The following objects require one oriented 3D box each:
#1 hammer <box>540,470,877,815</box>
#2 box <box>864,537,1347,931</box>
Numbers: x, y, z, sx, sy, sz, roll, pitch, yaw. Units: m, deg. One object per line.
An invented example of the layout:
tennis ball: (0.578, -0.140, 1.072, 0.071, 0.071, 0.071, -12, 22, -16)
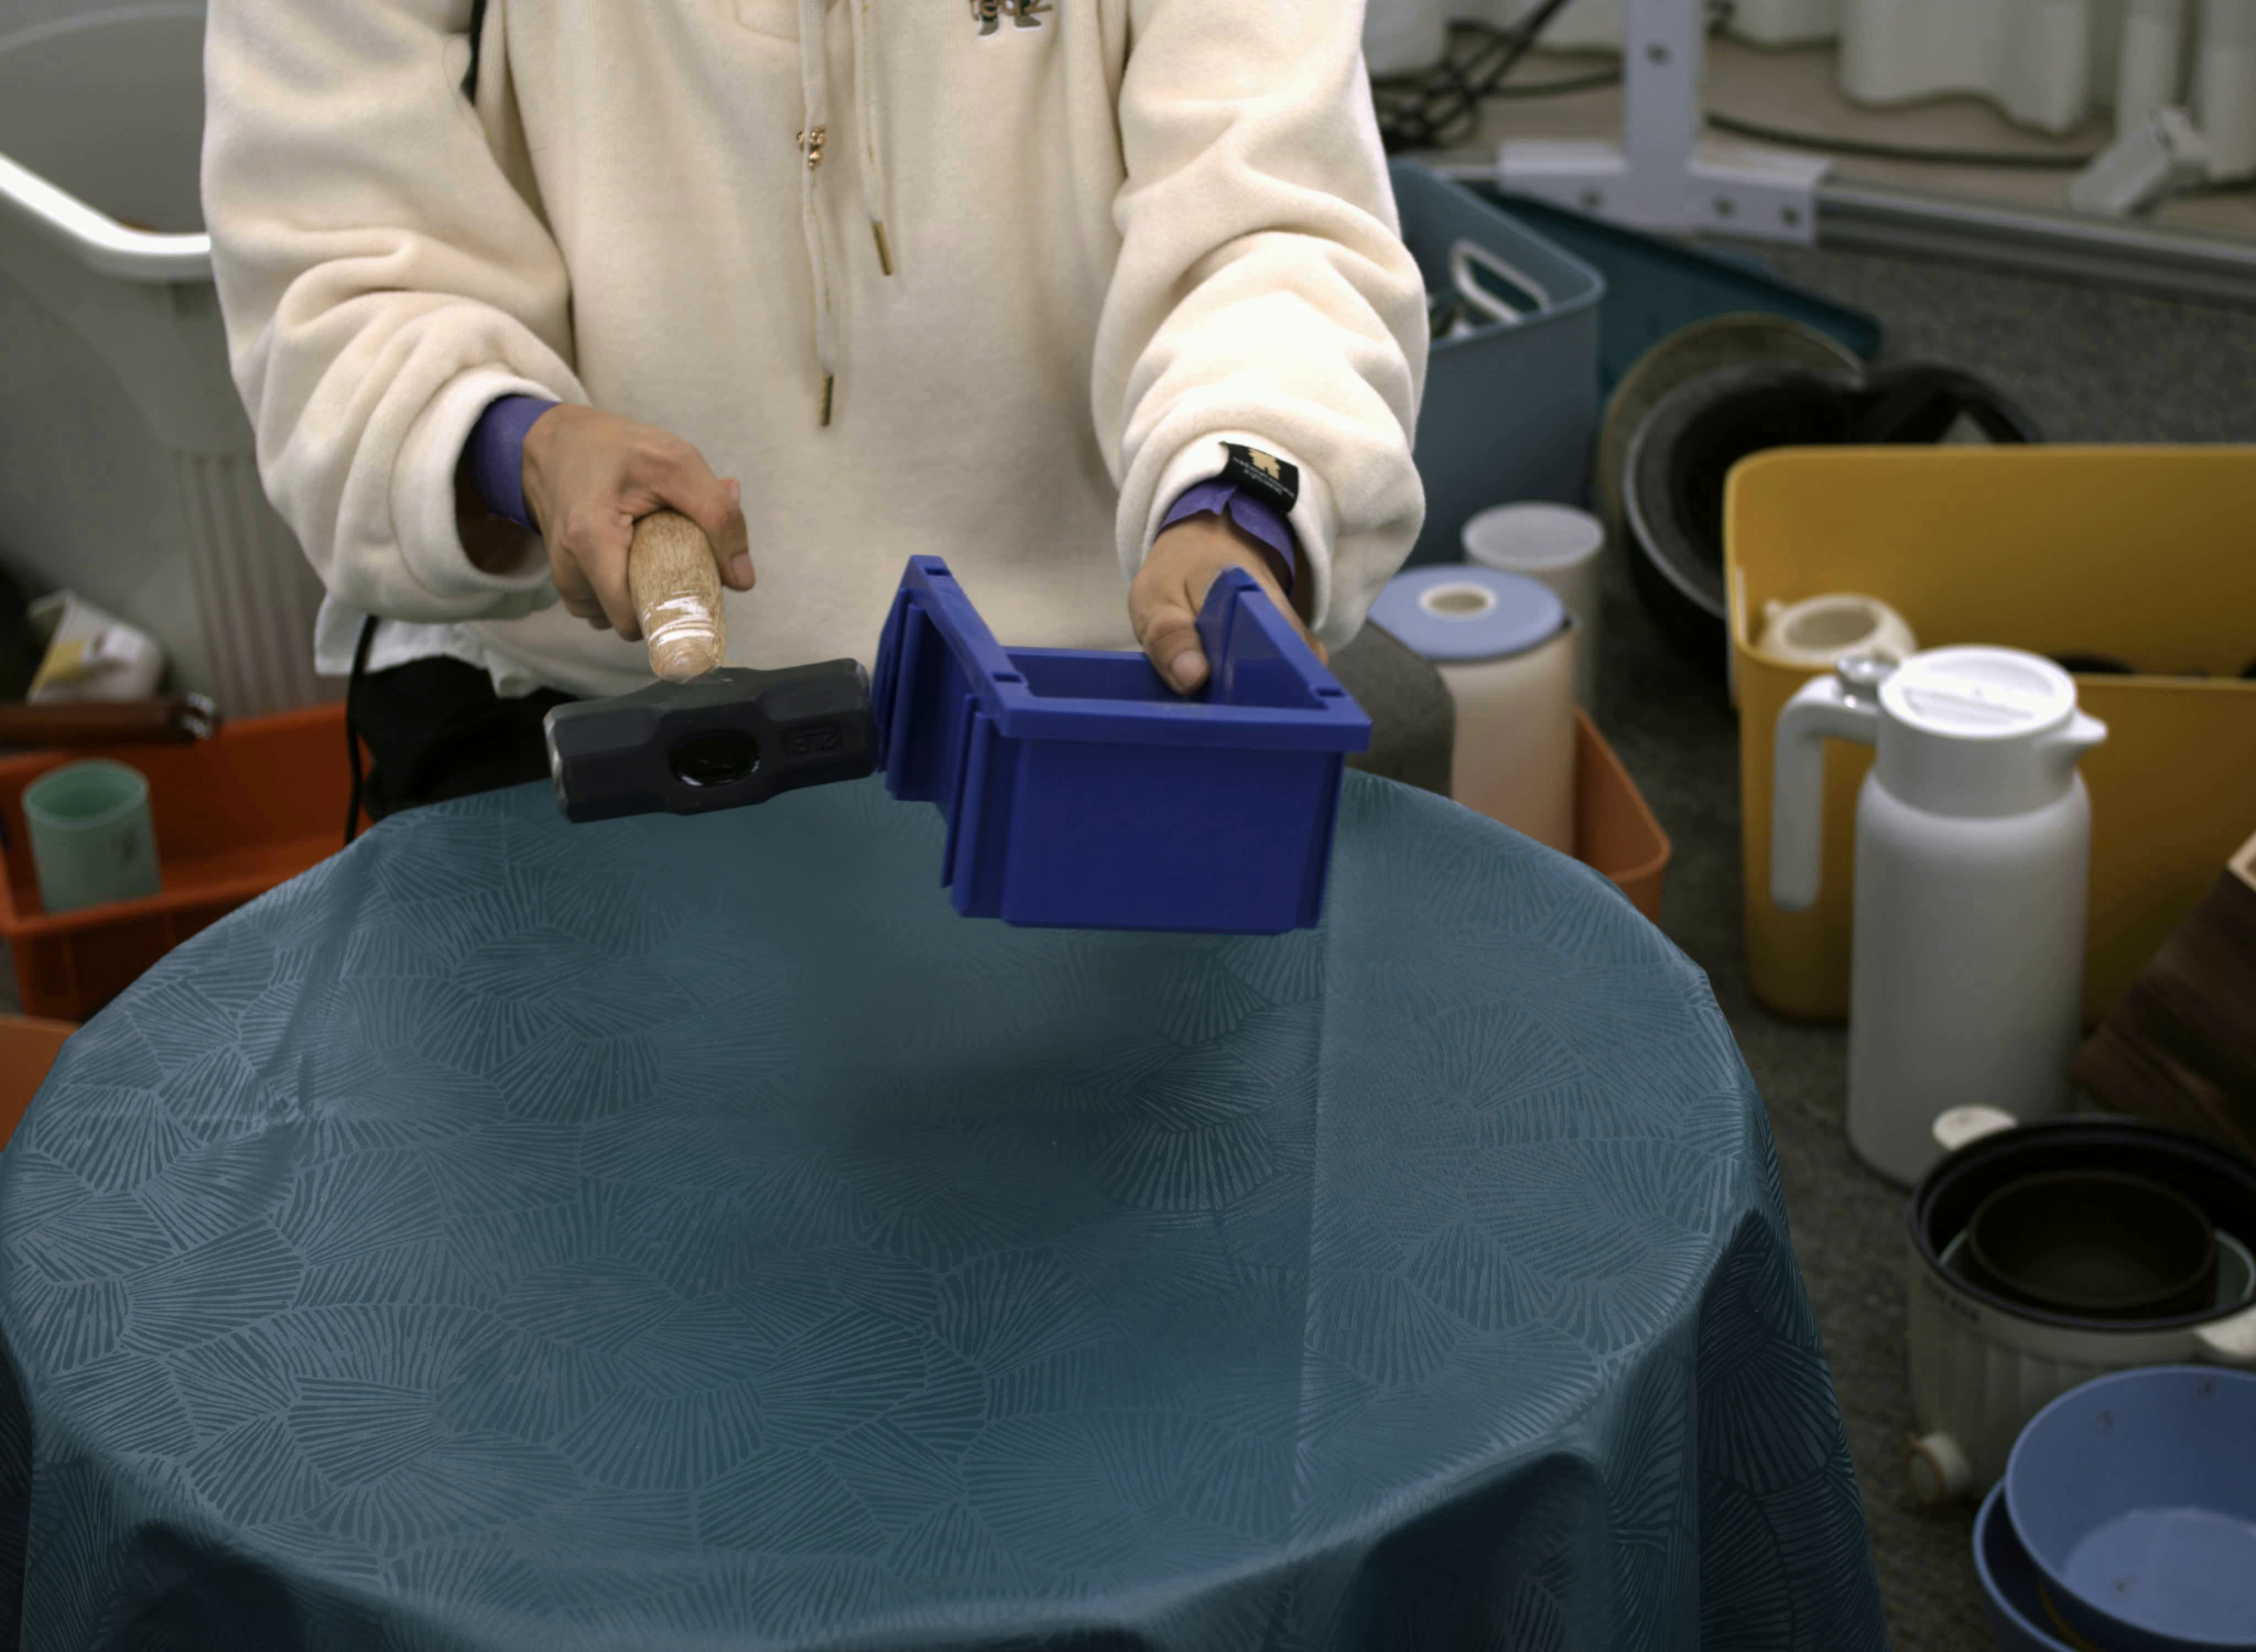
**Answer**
hammer: (-0.150, -0.071, 1.954, 0.107, 0.038, 0.308, -7, 19, -4)
box: (-0.014, -0.034, 1.862, 0.124, 0.081, 0.181, 3, 23, -15)
